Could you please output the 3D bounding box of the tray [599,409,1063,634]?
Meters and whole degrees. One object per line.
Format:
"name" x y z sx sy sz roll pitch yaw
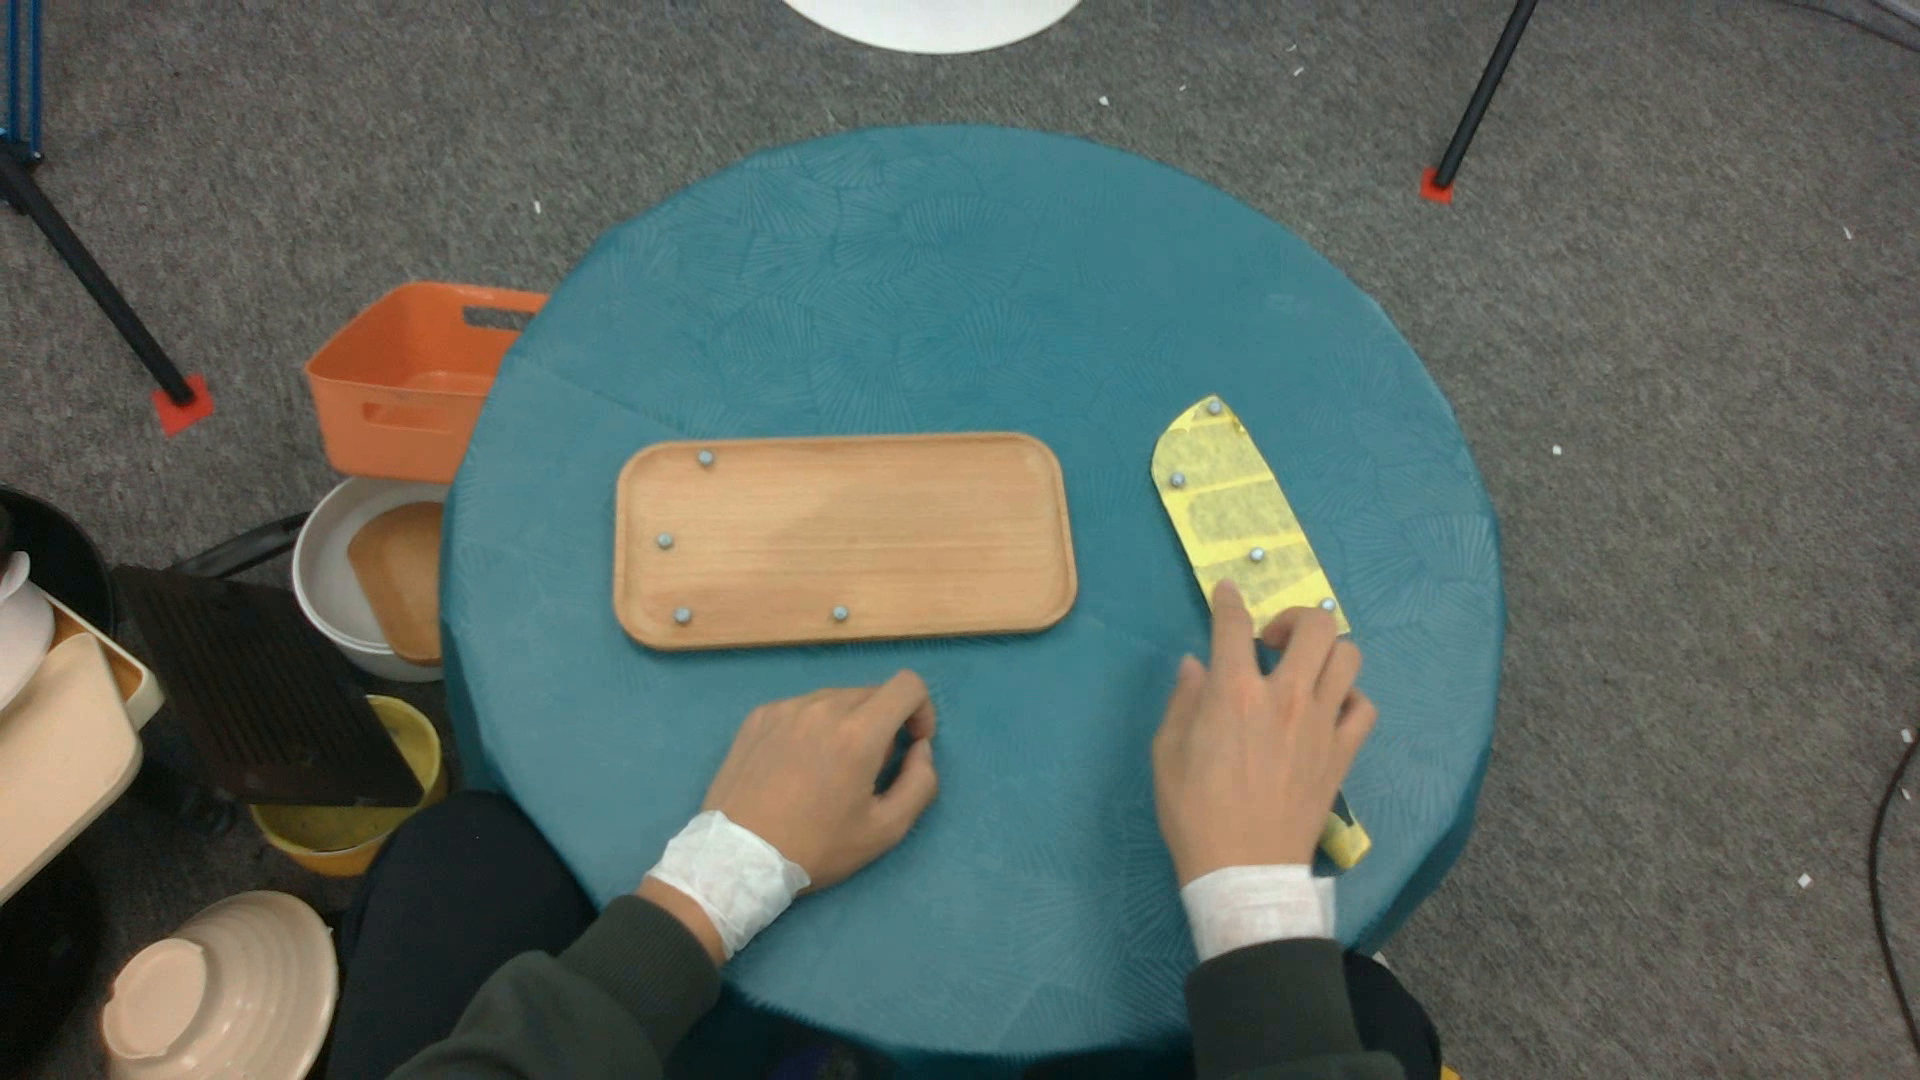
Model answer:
"tray" -0.071 -0.012 0.765 0.251 0.023 0.131 -2 64 -8

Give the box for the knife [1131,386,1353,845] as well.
"knife" 0.165 0.029 0.771 0.081 0.027 0.290 -11 62 -10
